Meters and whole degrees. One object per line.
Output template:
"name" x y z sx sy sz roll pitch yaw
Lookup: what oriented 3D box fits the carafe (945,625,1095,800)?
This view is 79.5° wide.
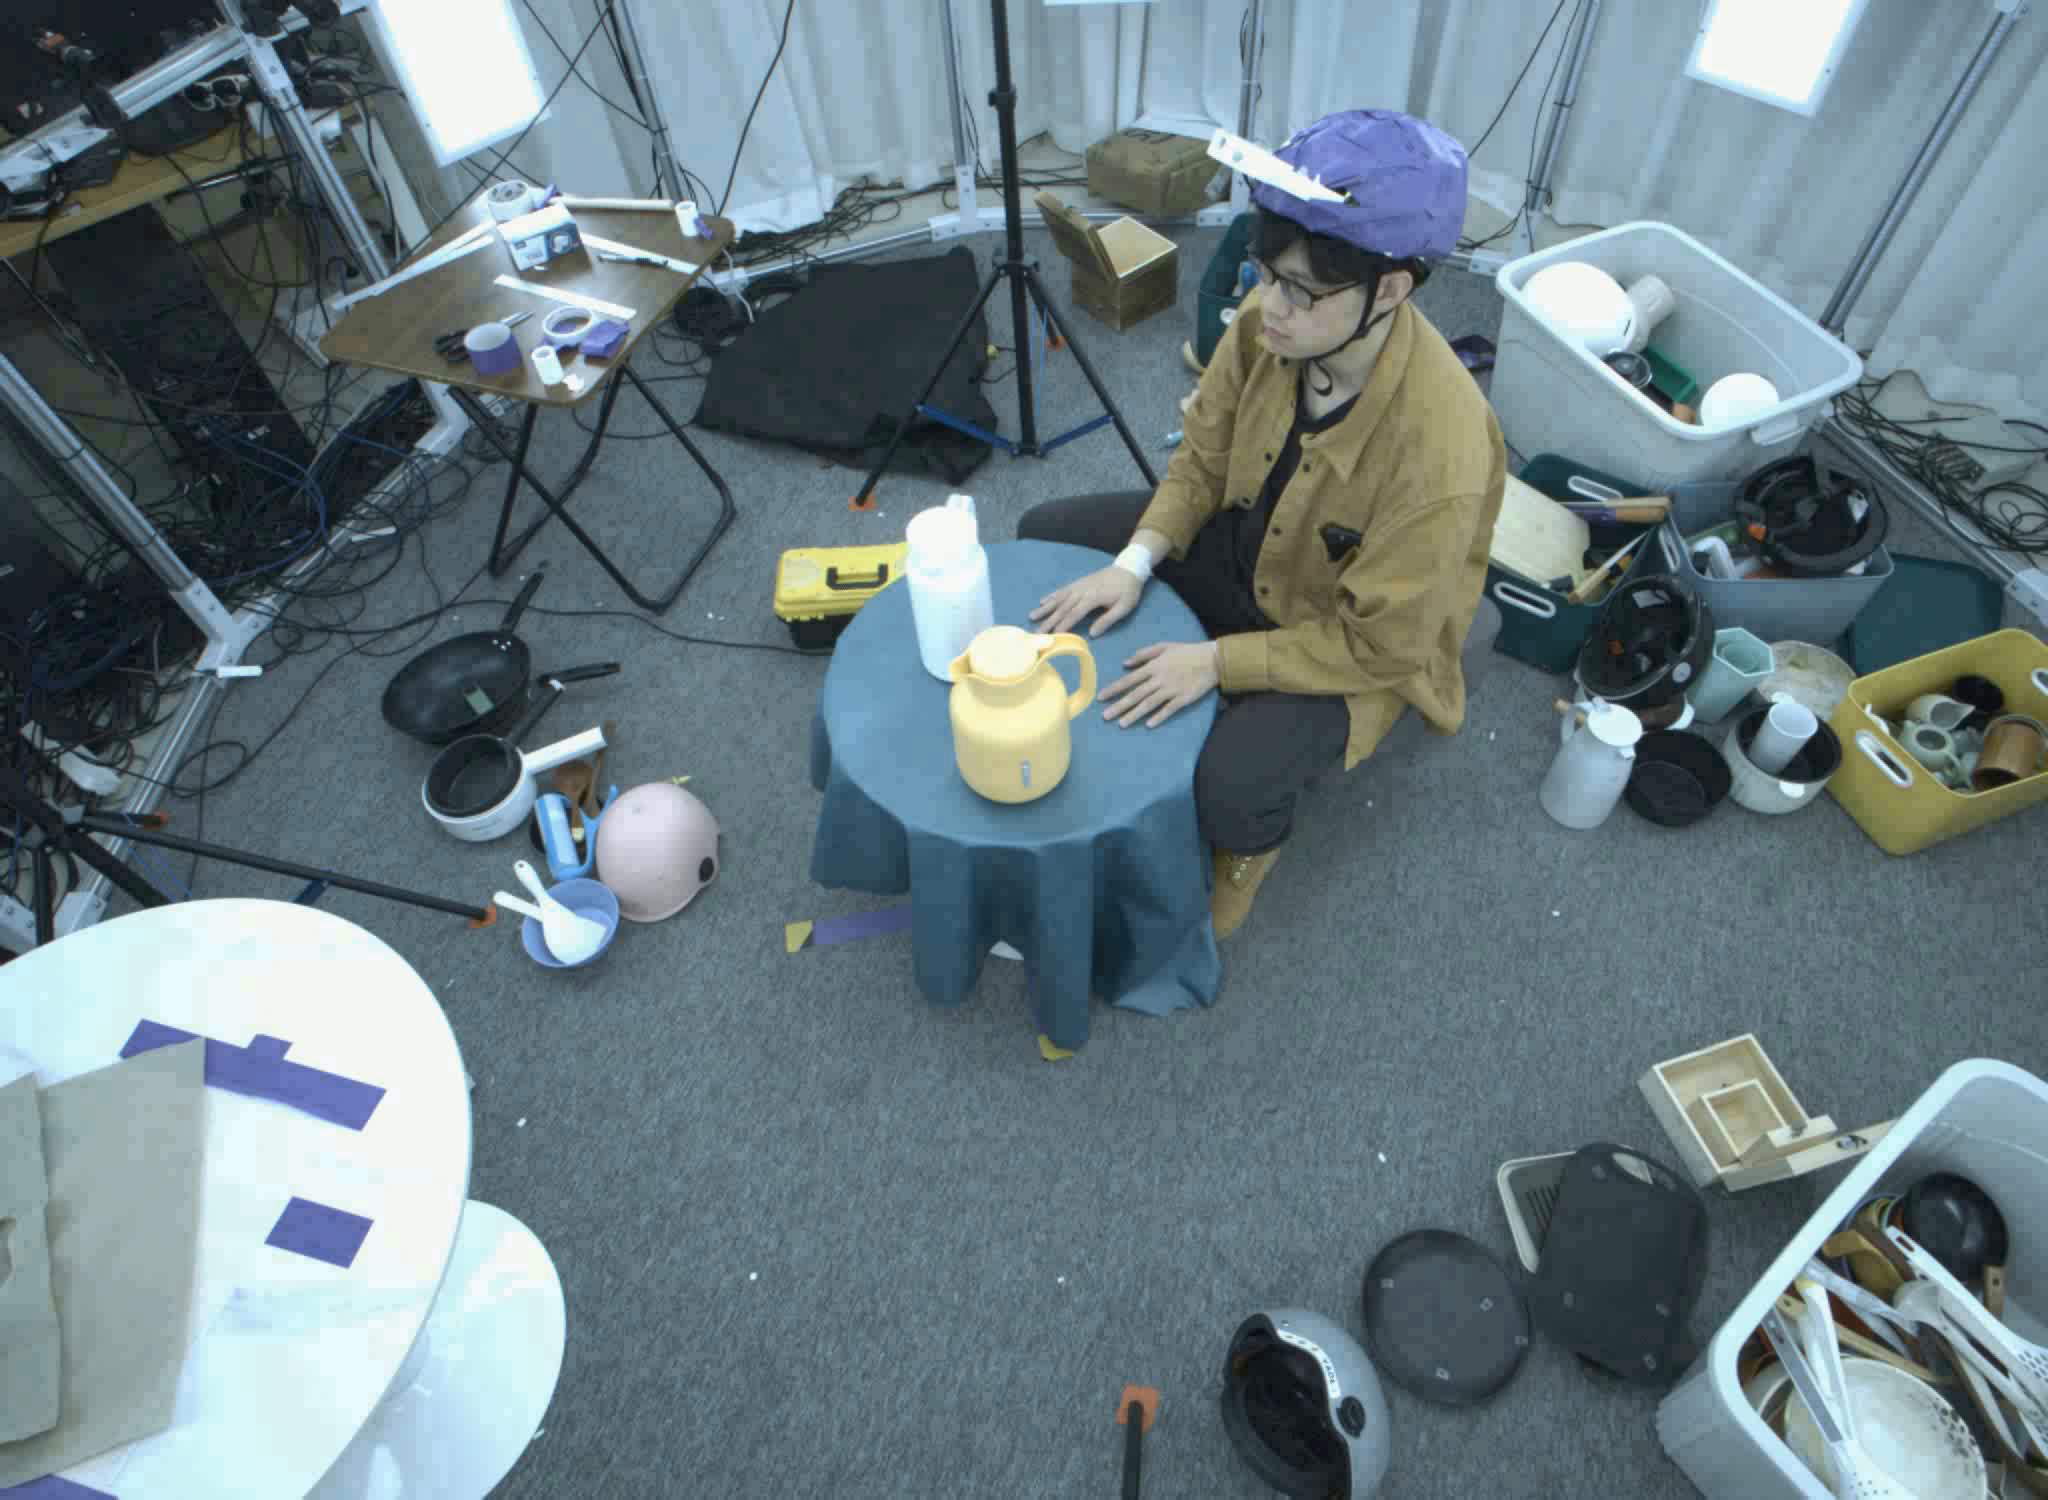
"carafe" -0.002 -0.060 1.663 0.203 0.263 0.161 -15 58 -5

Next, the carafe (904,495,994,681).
"carafe" -0.106 -0.239 1.792 0.123 0.272 0.172 8 55 11
